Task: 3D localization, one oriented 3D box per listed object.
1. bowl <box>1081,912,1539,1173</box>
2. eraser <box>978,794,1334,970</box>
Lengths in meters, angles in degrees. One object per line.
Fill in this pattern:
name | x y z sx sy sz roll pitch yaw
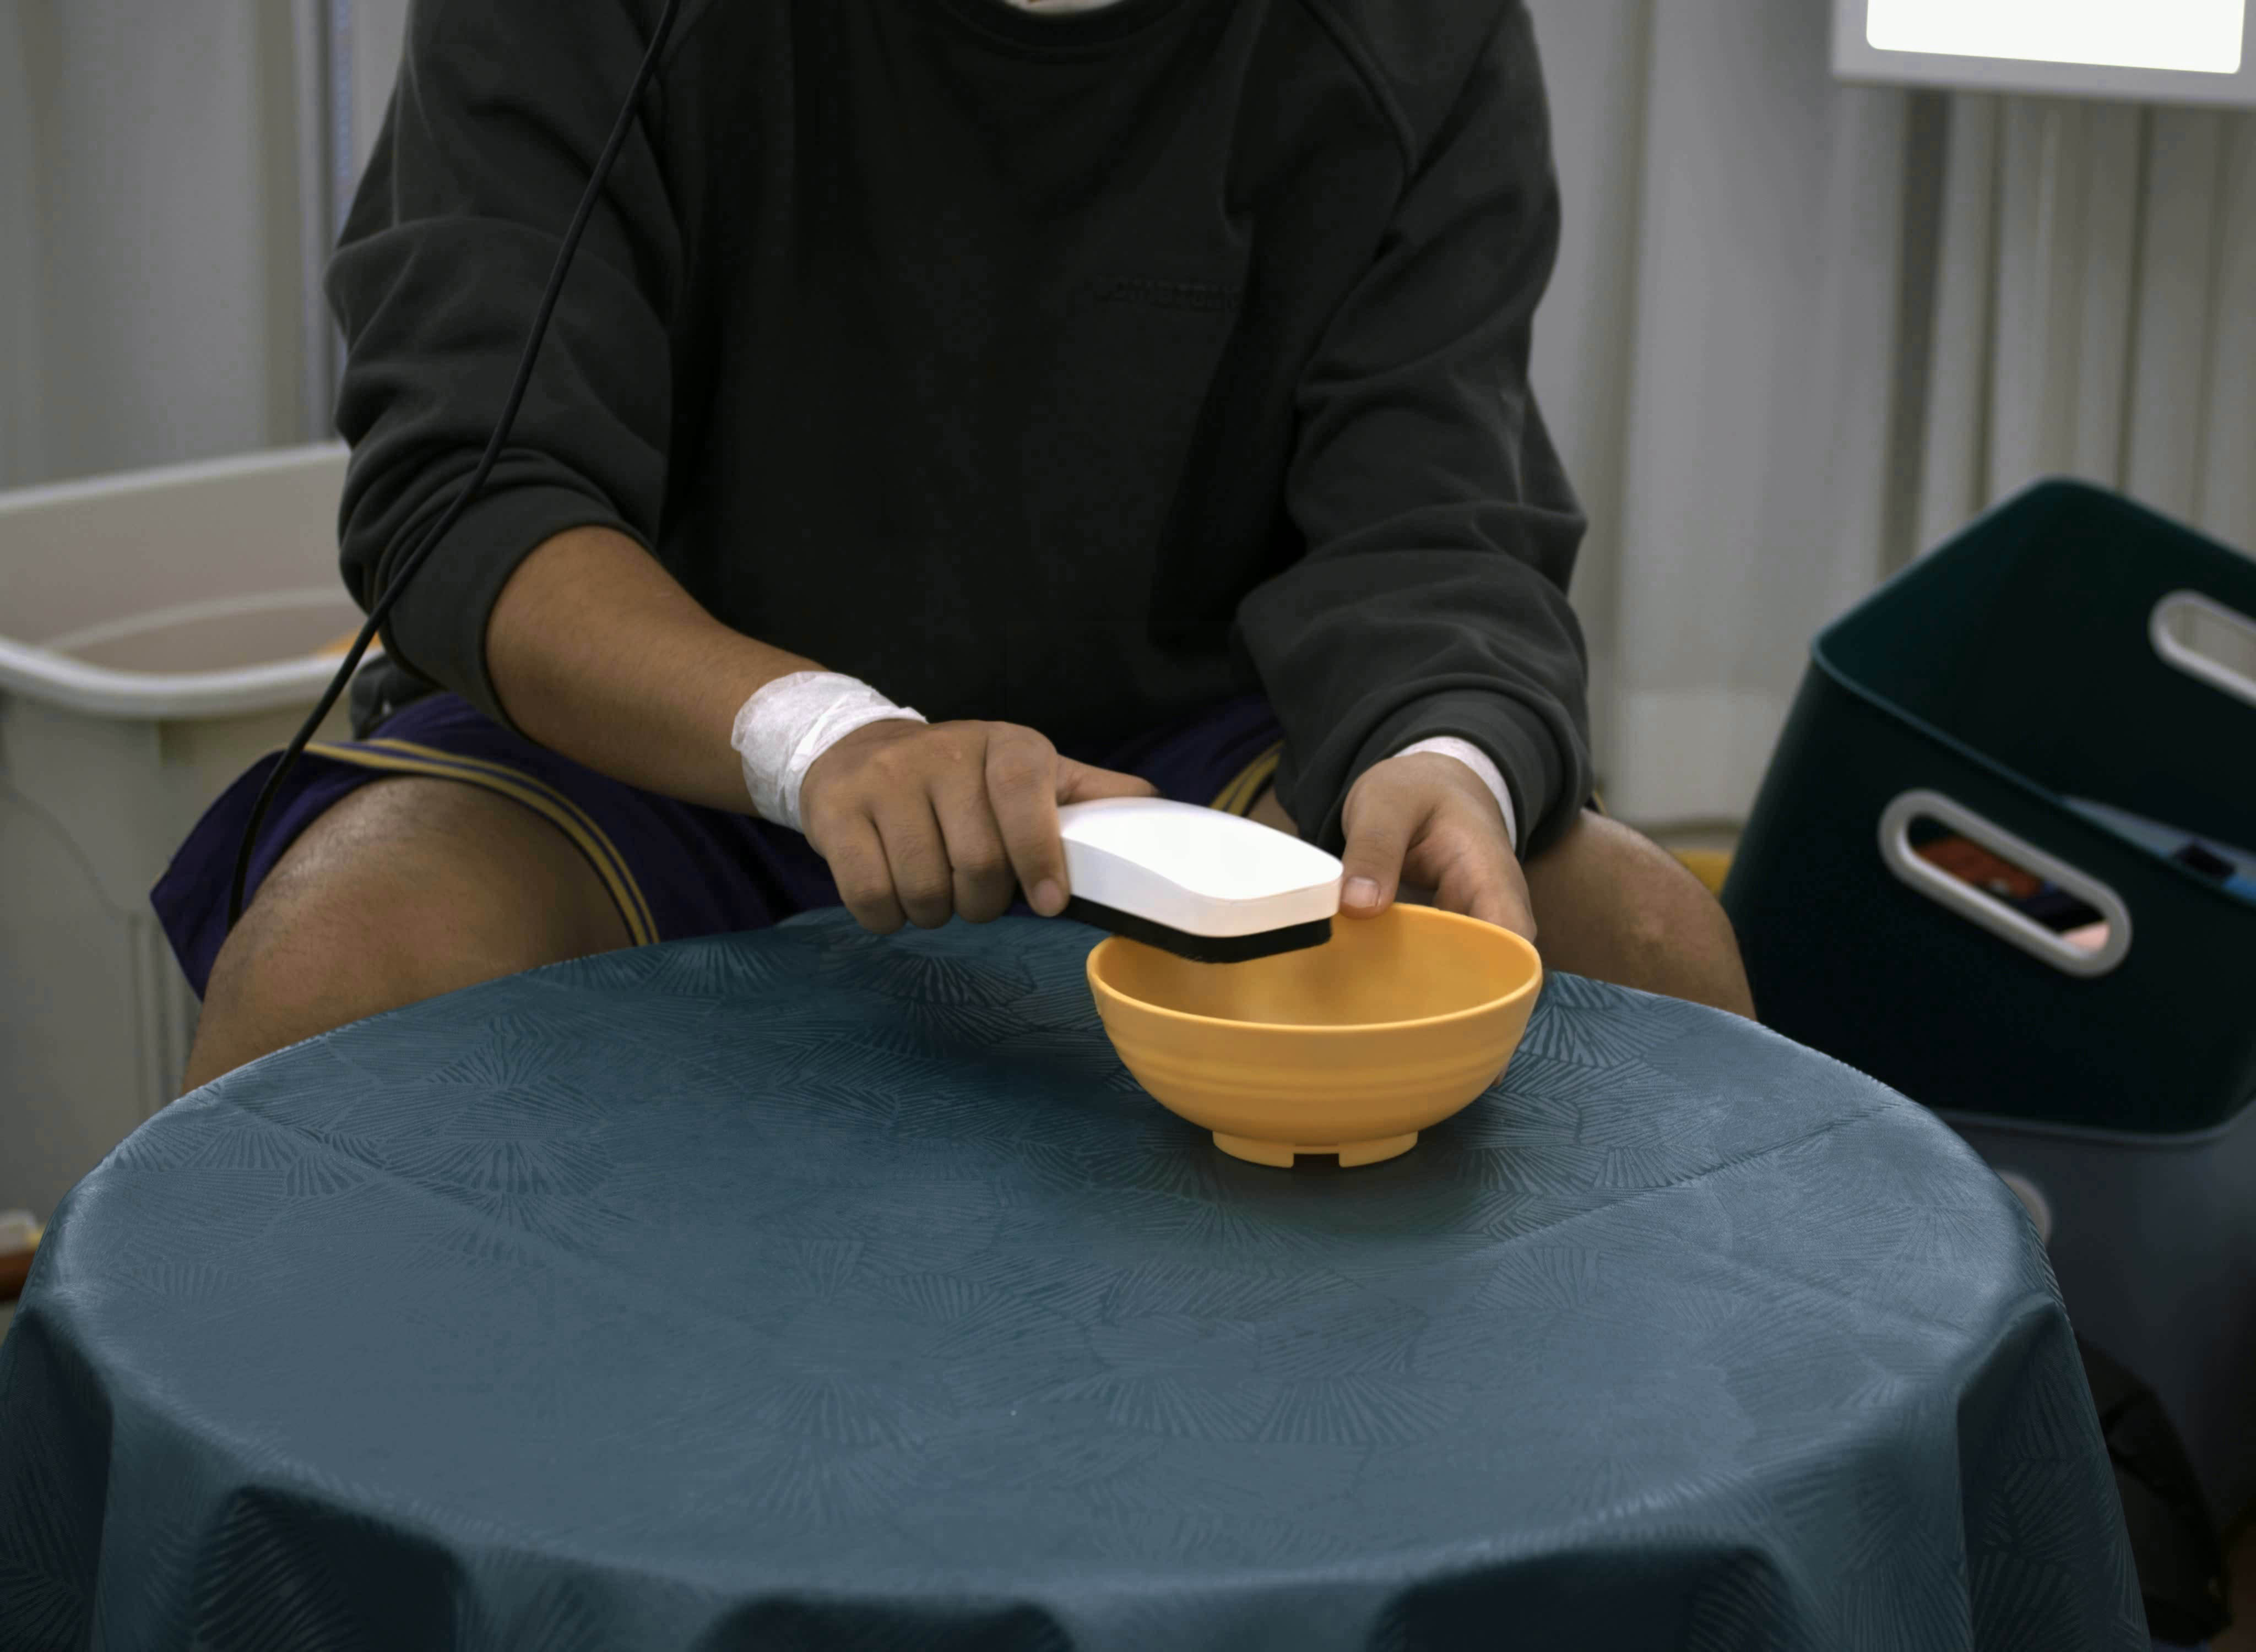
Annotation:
bowl | 0.057 0.072 1.664 0.145 0.060 0.144 0 13 0
eraser | 0.009 0.014 1.701 0.064 0.035 0.129 -10 19 -36
